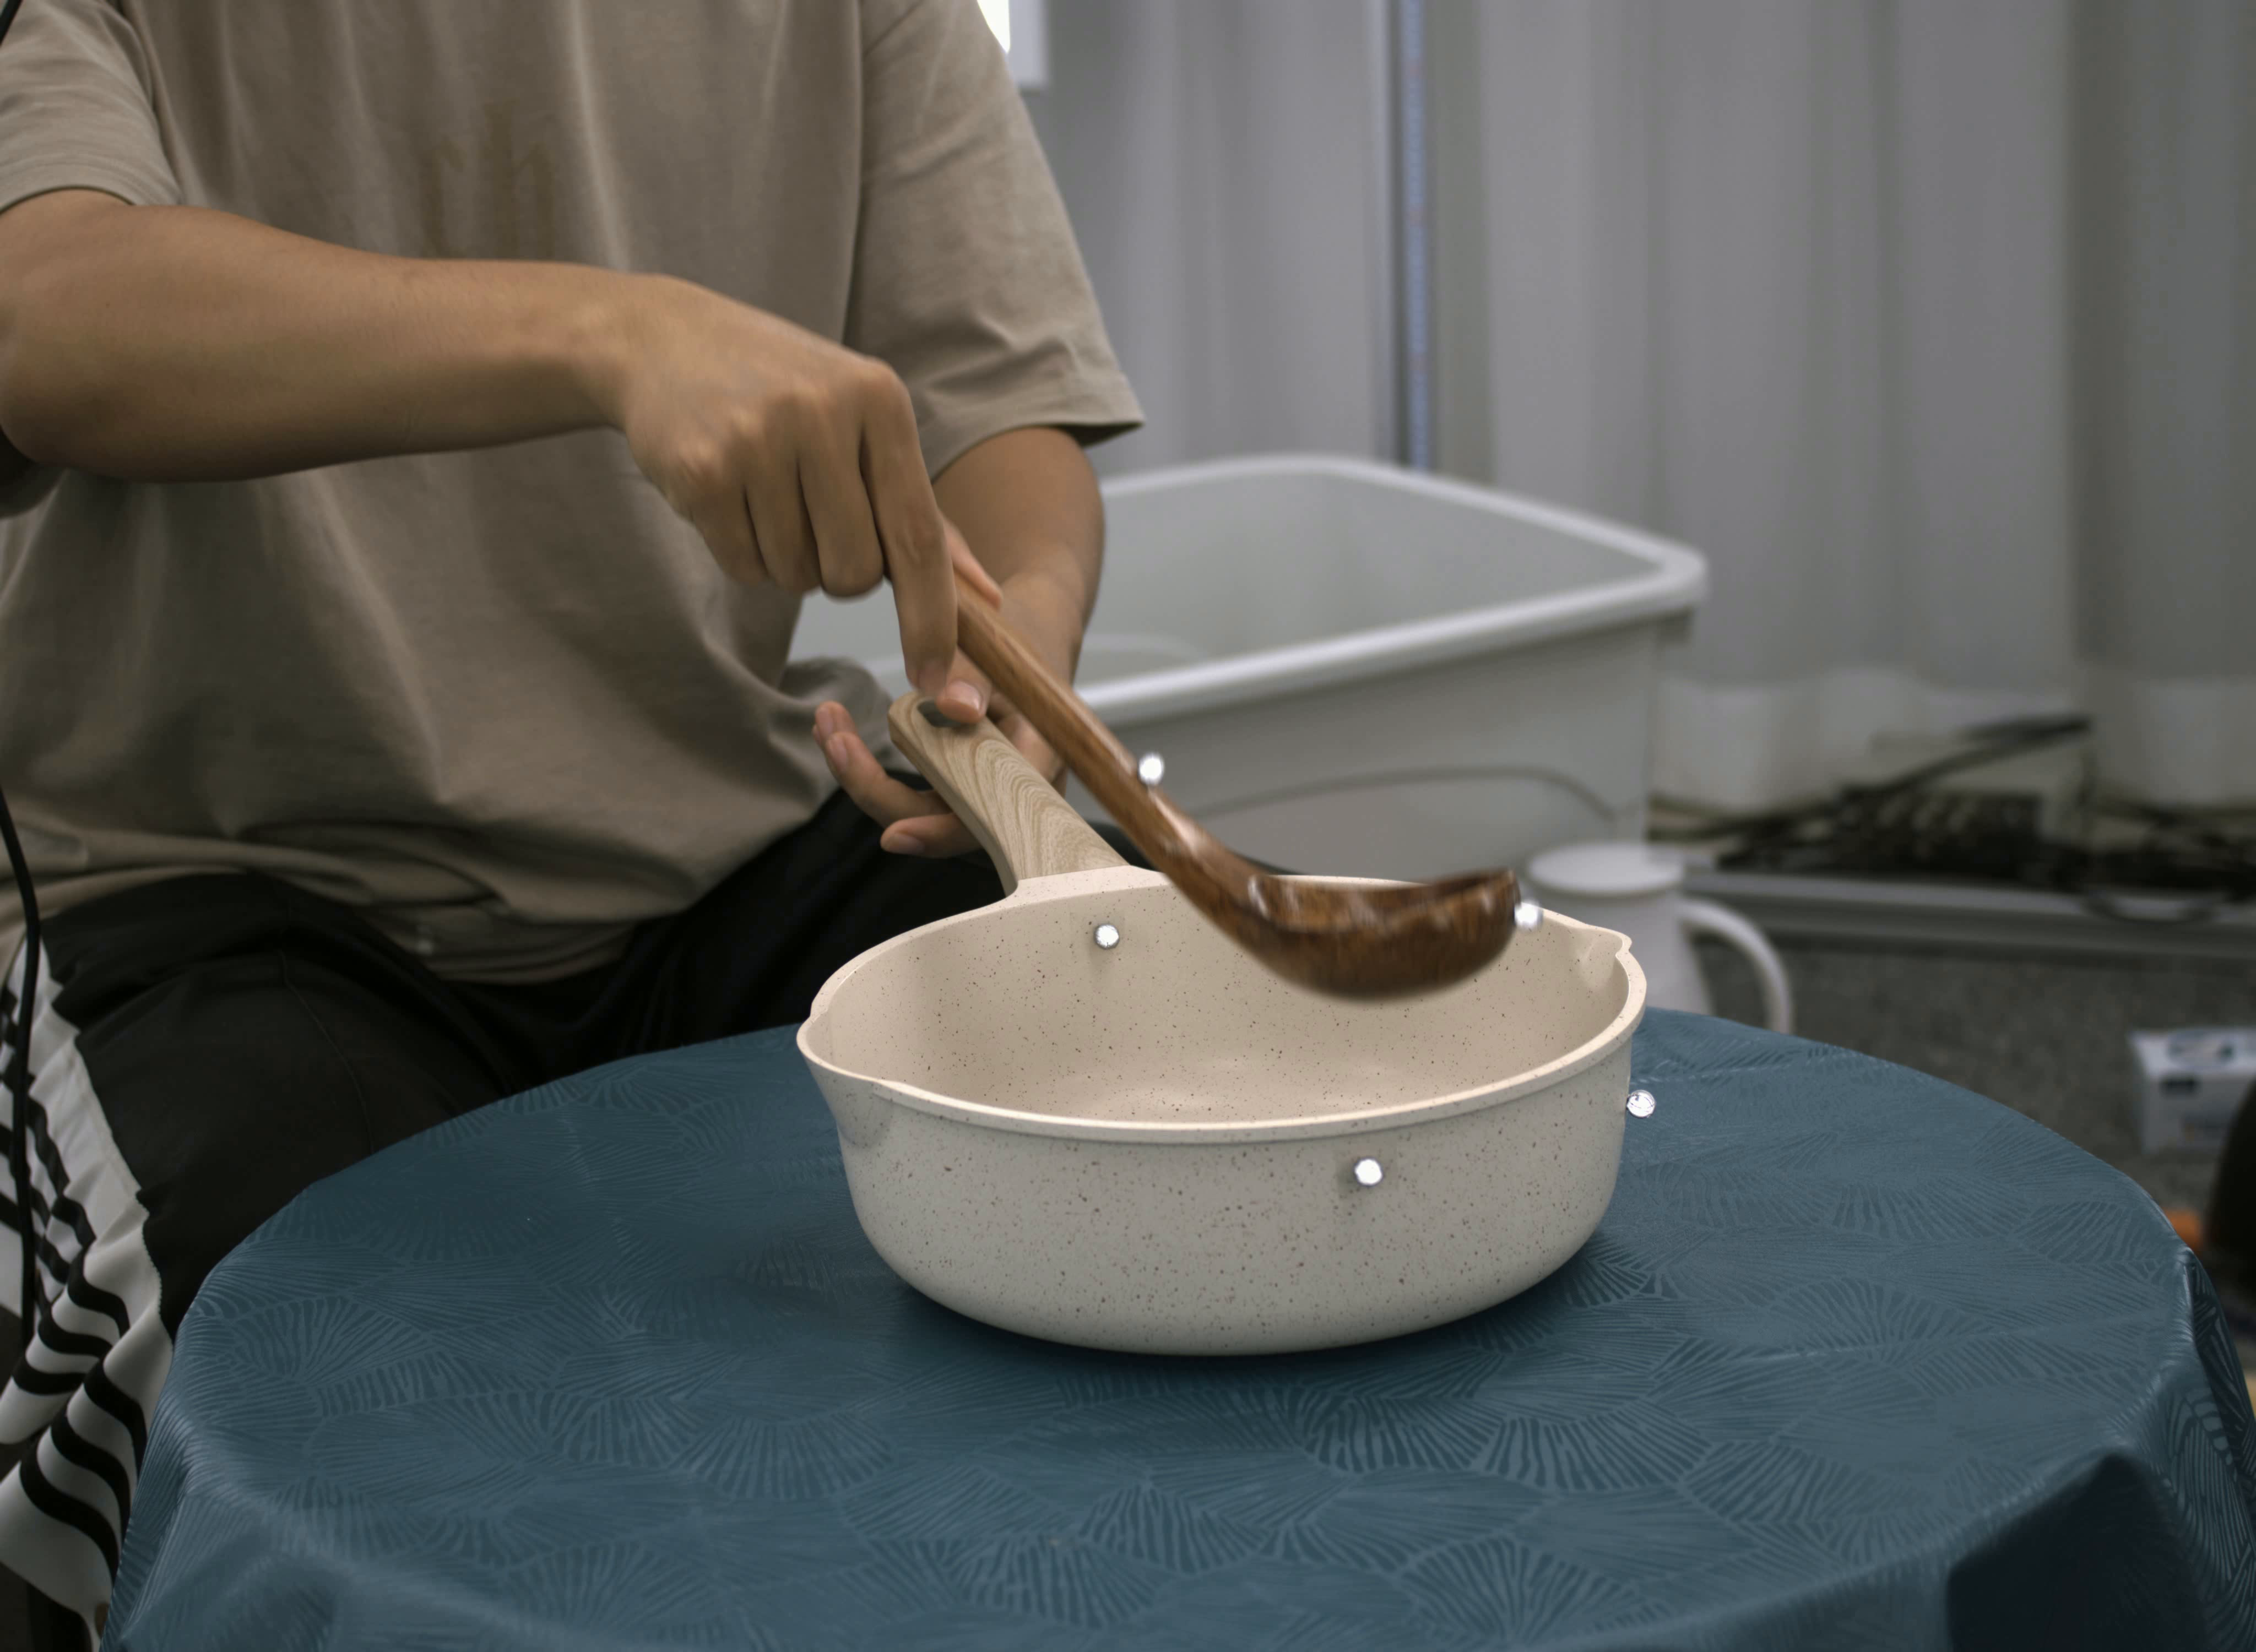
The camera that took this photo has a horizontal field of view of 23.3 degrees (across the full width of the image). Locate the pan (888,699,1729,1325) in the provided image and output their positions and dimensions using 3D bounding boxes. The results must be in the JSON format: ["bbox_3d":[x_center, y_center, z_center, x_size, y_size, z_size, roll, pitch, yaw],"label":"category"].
[{"bbox_3d":[0.026,0.052,1.735,0.262,0.101,0.438,-9,16,-18],"label":"pan"}]

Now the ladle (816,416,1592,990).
[{"bbox_3d":[0.023,-0.049,1.639,0.275,0.076,0.082,45,14,10],"label":"ladle"}]
